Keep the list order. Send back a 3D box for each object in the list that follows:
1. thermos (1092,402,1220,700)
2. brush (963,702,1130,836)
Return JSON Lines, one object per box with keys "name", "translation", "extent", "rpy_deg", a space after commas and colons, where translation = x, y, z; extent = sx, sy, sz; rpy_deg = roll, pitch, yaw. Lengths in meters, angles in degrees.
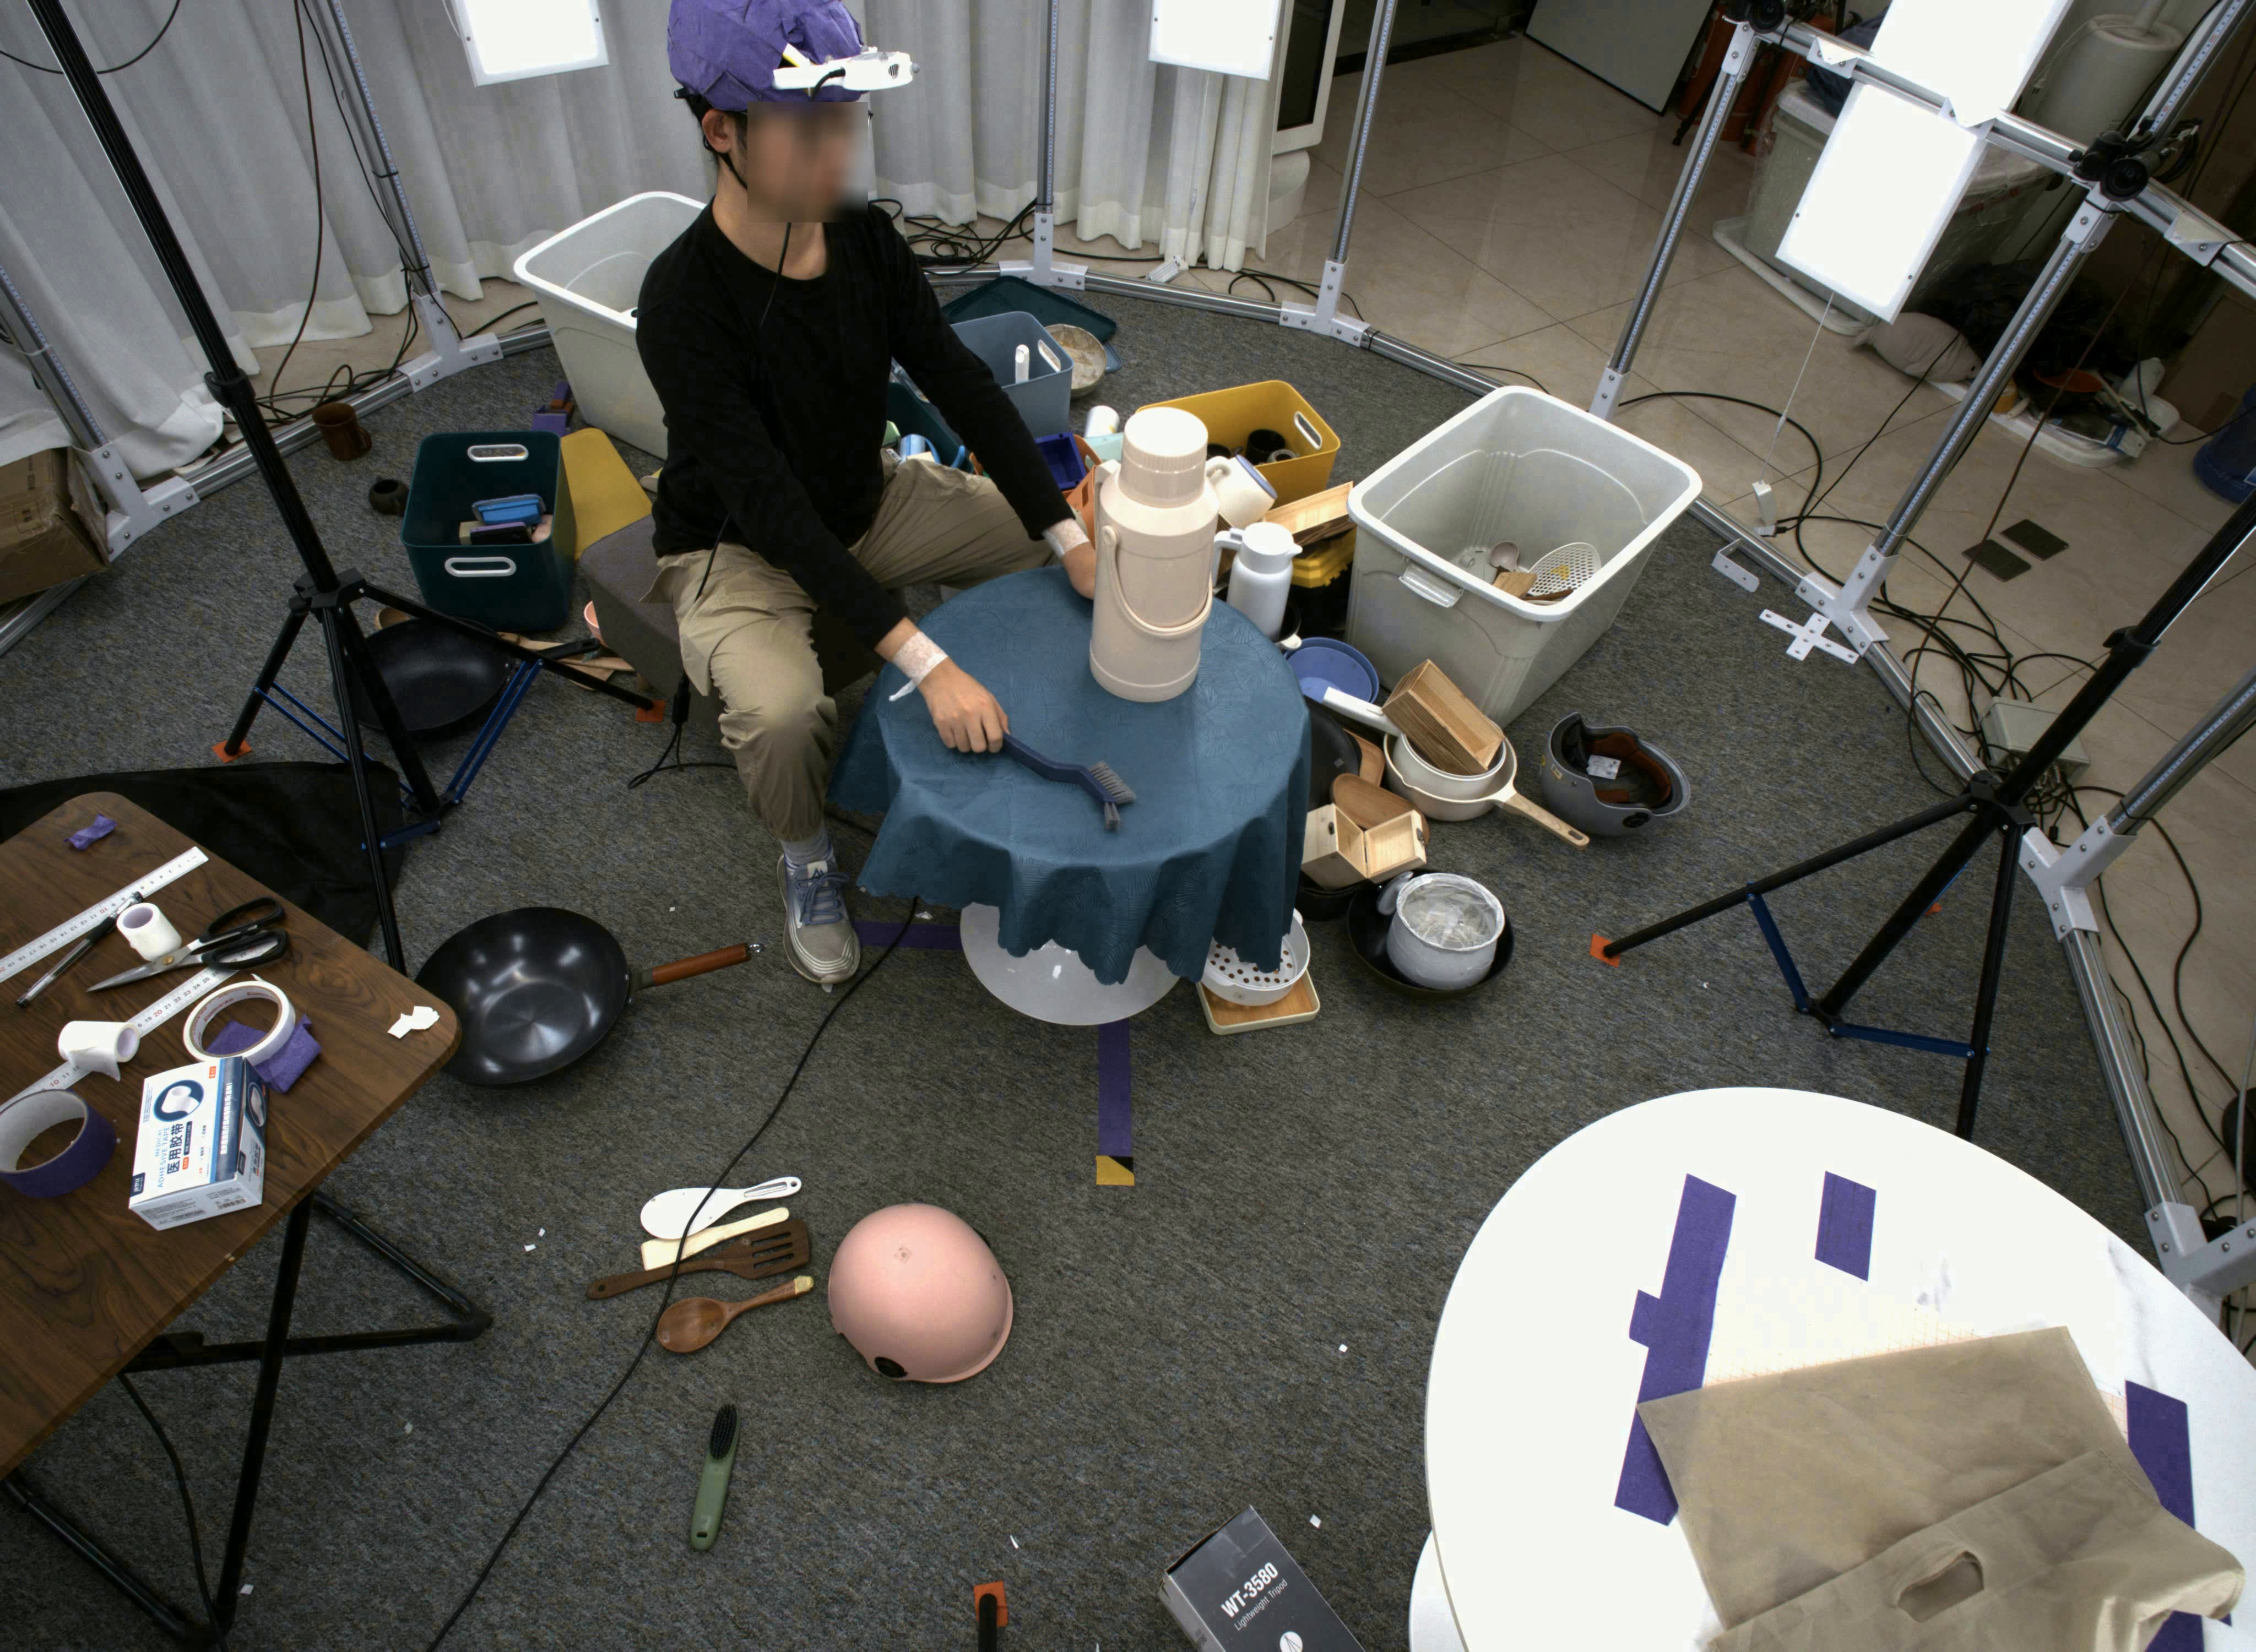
{"name": "thermos", "translation": [0.028, -0.373, 1.739], "extent": [0.176, 0.396, 0.210], "rpy_deg": [-33, 59, -26]}
{"name": "brush", "translation": [-0.121, -0.081, 1.711], "extent": [0.275, 0.033, 0.097], "rpy_deg": [26, 51, 15]}
